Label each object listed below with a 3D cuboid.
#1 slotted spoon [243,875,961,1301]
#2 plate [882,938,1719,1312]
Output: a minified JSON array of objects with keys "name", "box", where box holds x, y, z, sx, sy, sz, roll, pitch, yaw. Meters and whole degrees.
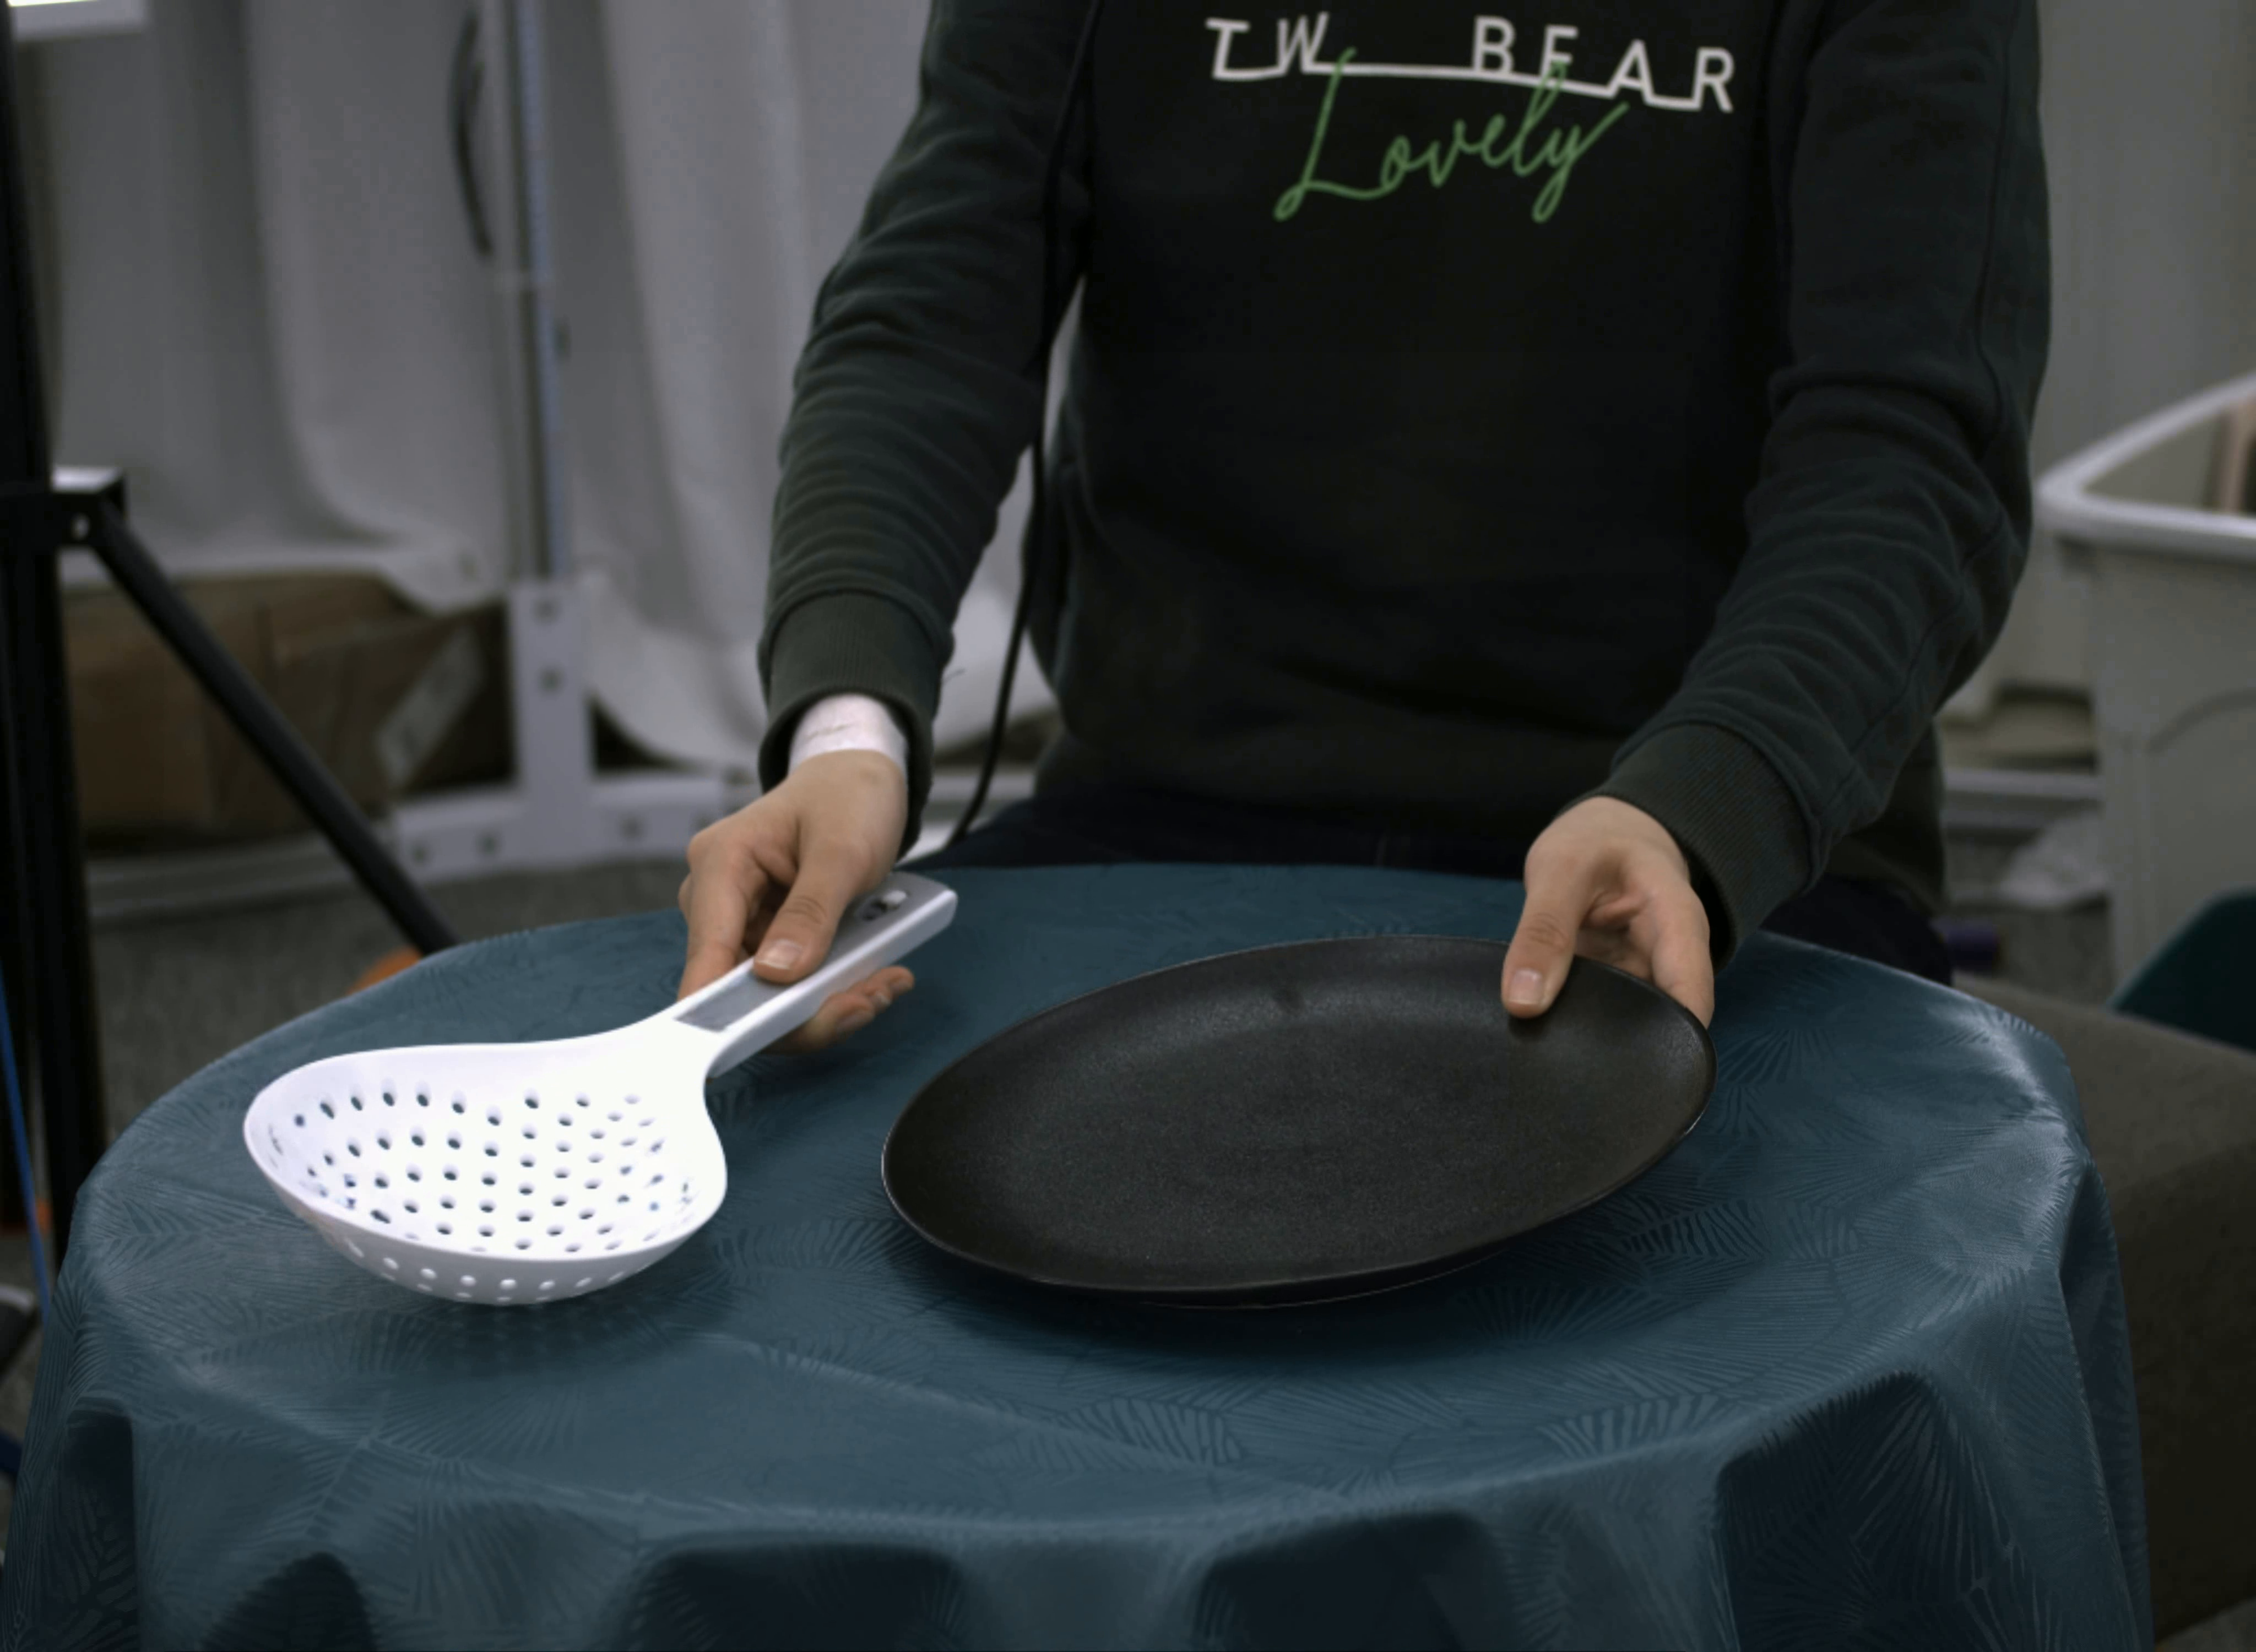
[{"name":"slotted spoon","box":[-0.138,0.069,1.596,0.138,0.046,0.345,18,27,20]},{"name":"plate","box":[0.050,0.089,1.531,0.243,0.023,0.246,-9,20,2]}]
